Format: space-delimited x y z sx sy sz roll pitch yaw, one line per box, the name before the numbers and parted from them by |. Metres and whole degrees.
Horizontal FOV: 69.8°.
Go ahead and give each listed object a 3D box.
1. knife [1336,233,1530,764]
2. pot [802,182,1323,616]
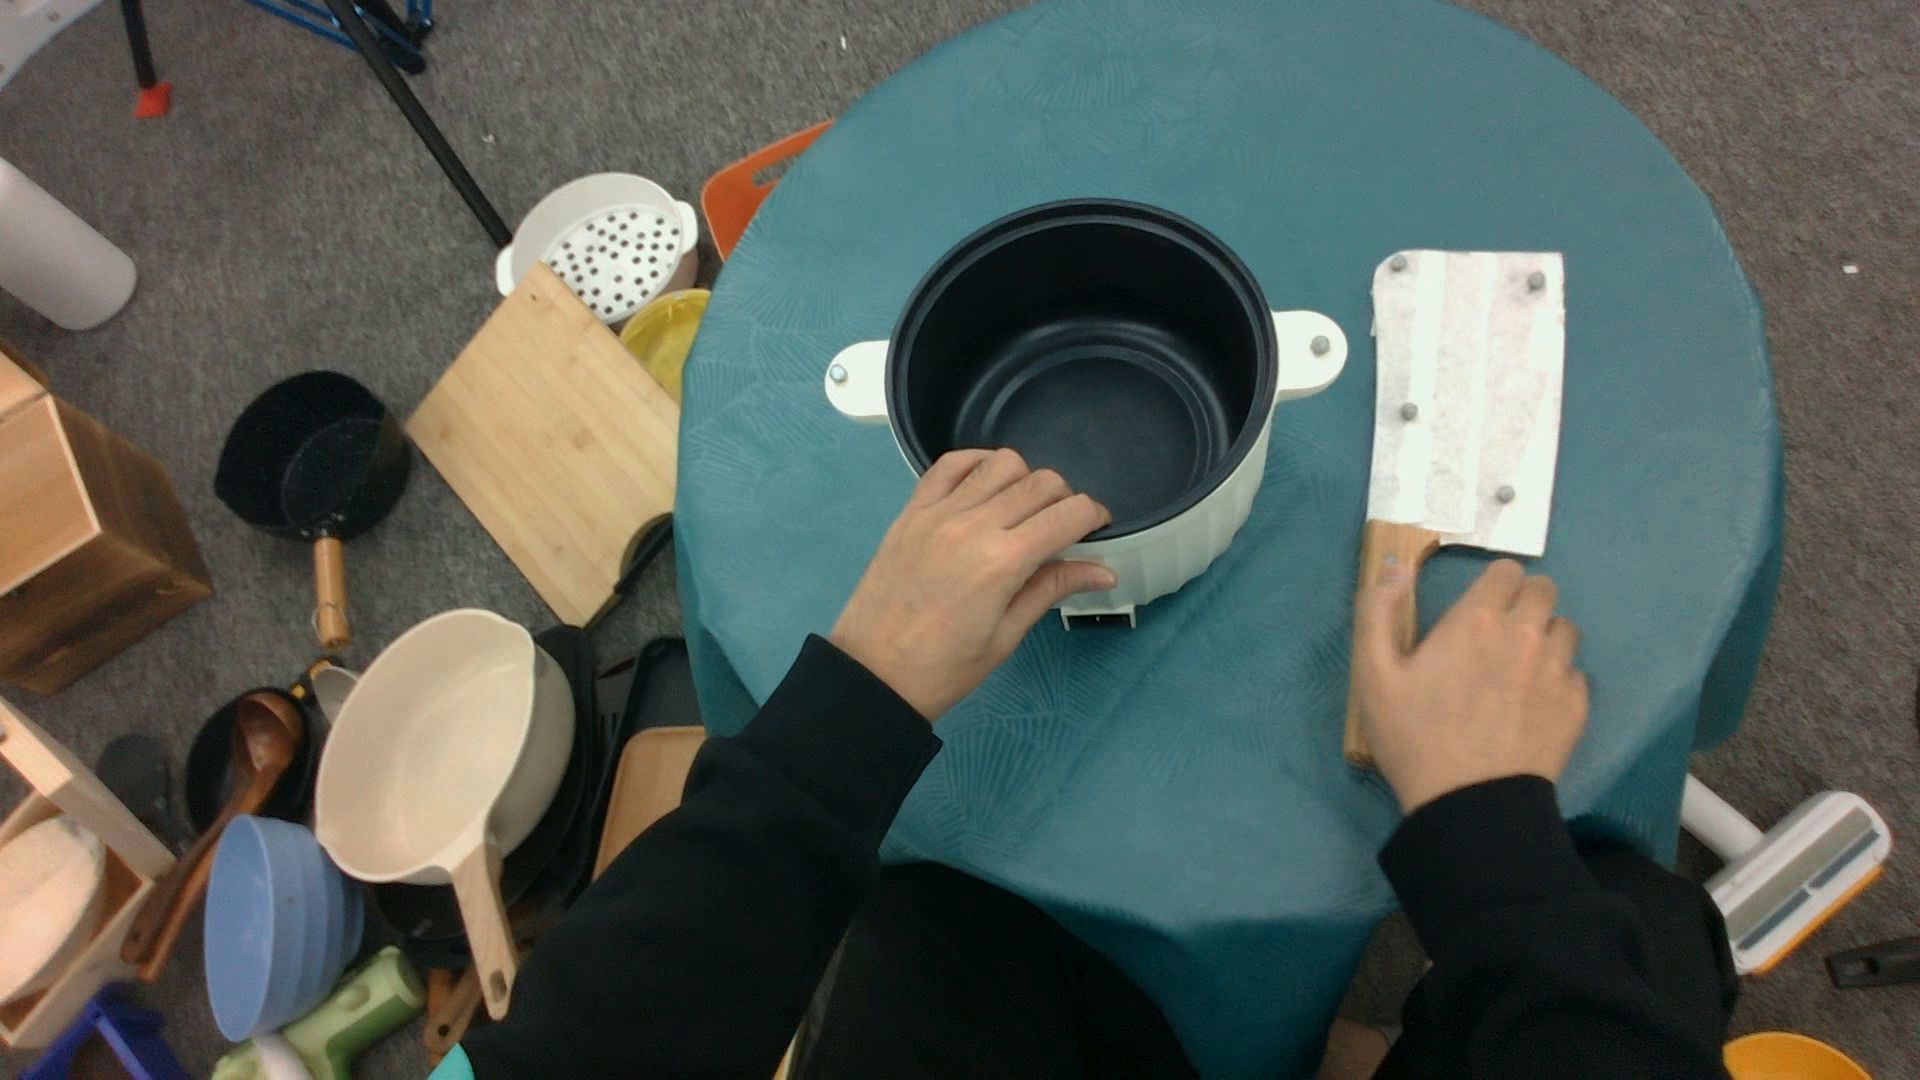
knife | 0.236 -0.035 0.714 0.114 0.021 0.316 10 67 13
pot | 0.052 -0.070 0.692 0.240 0.142 0.191 -3 70 7
